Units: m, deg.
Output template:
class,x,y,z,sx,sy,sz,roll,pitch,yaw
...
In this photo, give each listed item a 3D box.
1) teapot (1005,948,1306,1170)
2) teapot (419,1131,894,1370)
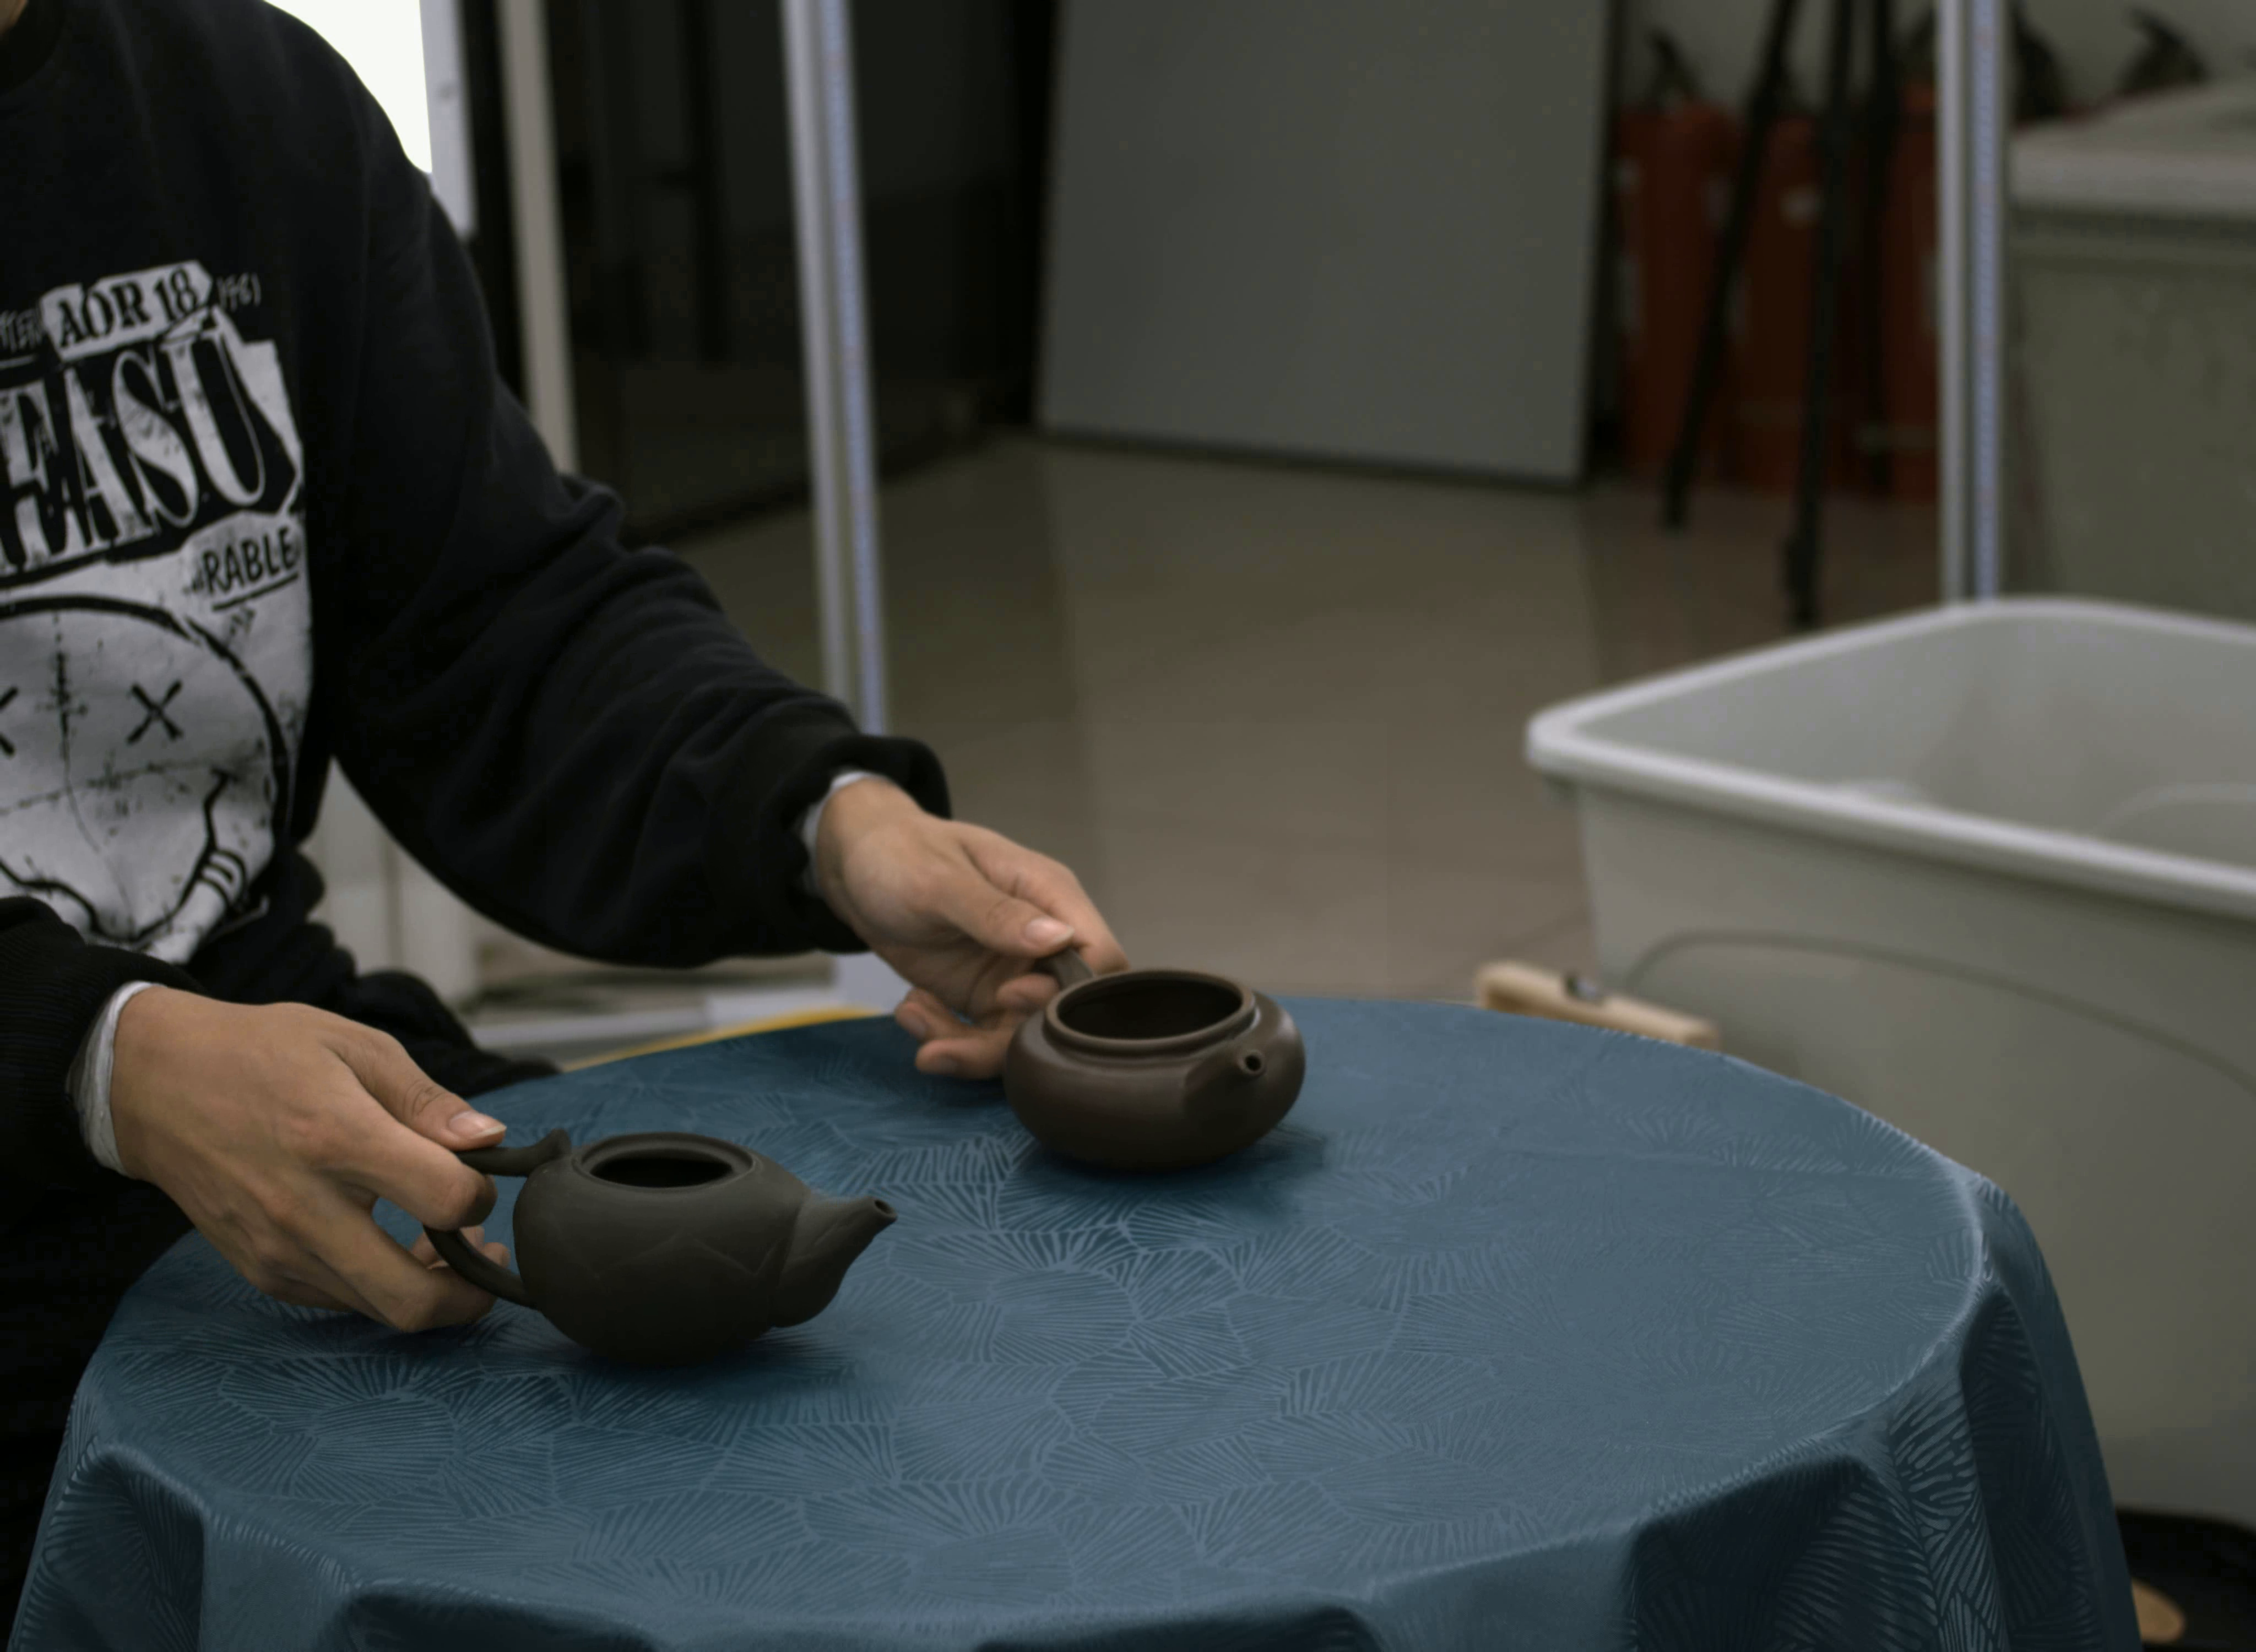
class,x,y,z,sx,sy,sz,roll,pitch,yaw
teapot,0.007,0.079,1.817,0.100,0.054,0.155,-14,21,-30
teapot,-0.145,0.128,1.649,0.153,0.065,0.091,6,12,15
